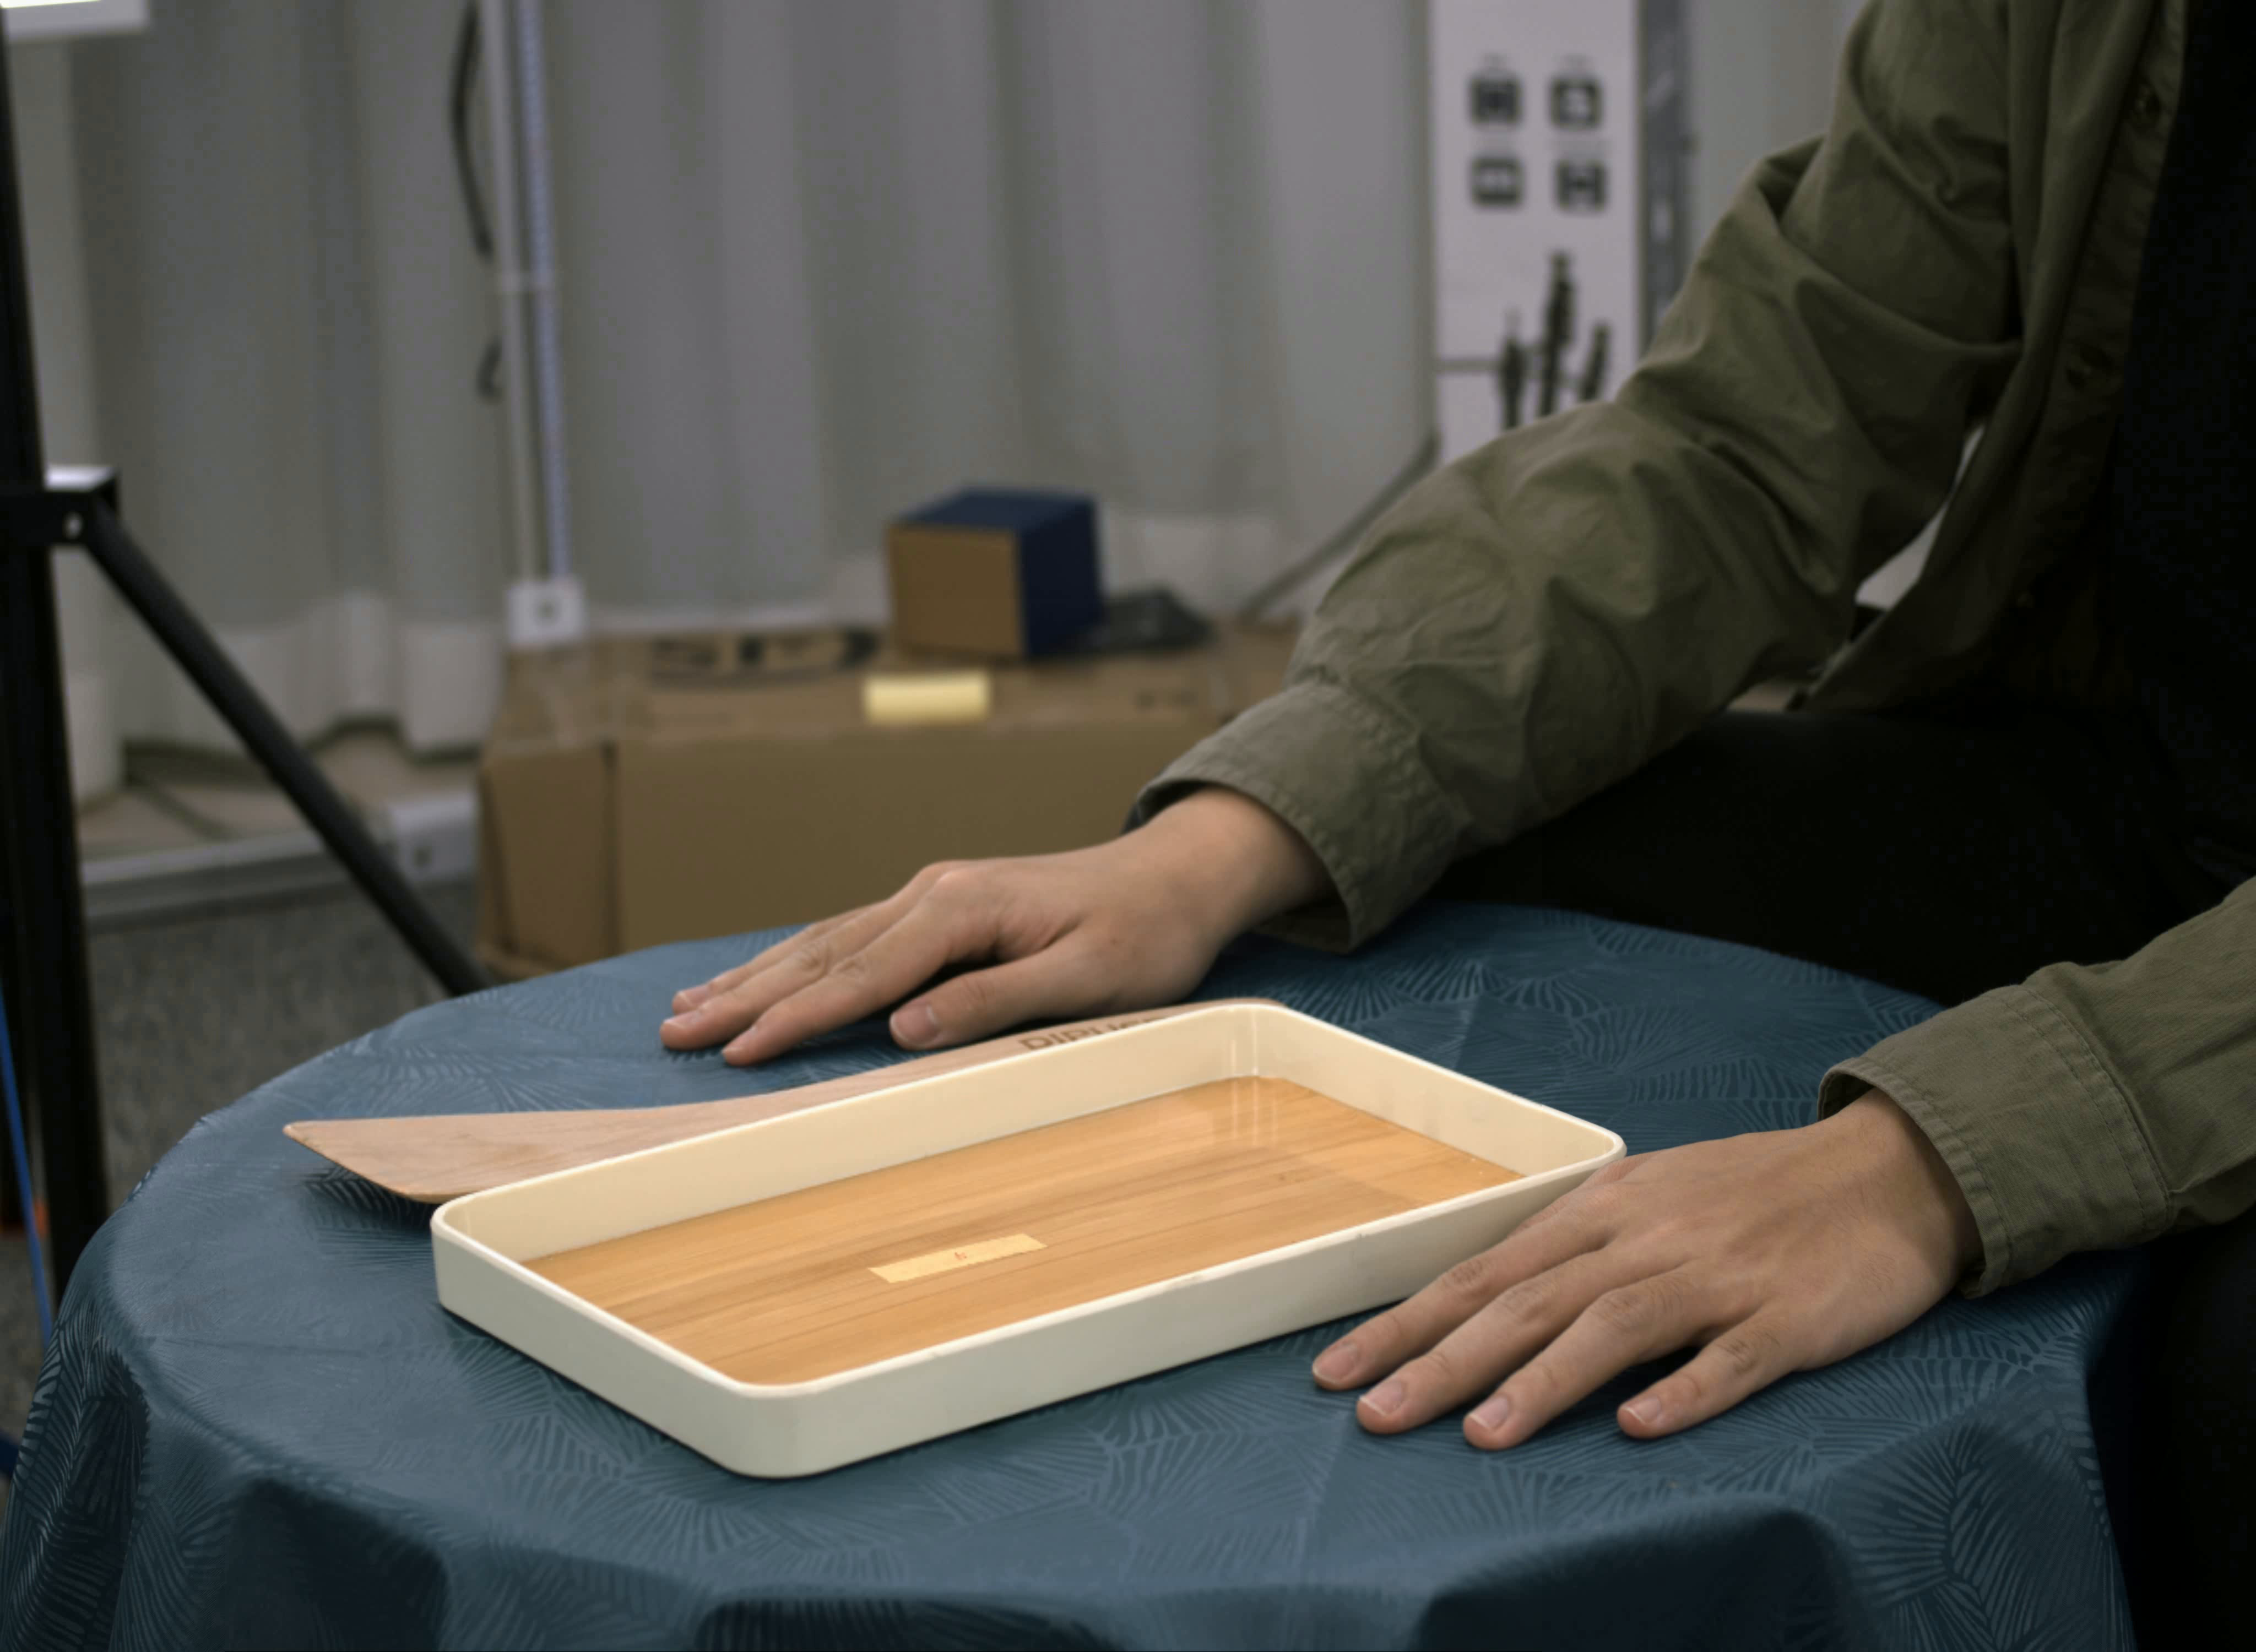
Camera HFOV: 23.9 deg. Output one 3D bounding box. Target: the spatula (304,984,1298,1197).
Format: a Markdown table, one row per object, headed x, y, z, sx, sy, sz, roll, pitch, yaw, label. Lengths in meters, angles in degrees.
| x | y | z | sx | sy | sz | roll | pitch | yaw | label |
| --- | --- | --- | --- | --- | --- | --- | --- | --- | --- |
| -0.089 | 0.078 | 1.649 | 0.321 | 0.016 | 0.081 | -10 | 18 | -25 | spatula |

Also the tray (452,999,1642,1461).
| x | y | z | sx | sy | sz | roll | pitch | yaw | label |
| --- | --- | --- | --- | --- | --- | --- | --- | --- | --- |
| -0.021 | 0.110 | 1.508 | 0.293 | 0.027 | 0.196 | -11 | 19 | -32 | tray |
